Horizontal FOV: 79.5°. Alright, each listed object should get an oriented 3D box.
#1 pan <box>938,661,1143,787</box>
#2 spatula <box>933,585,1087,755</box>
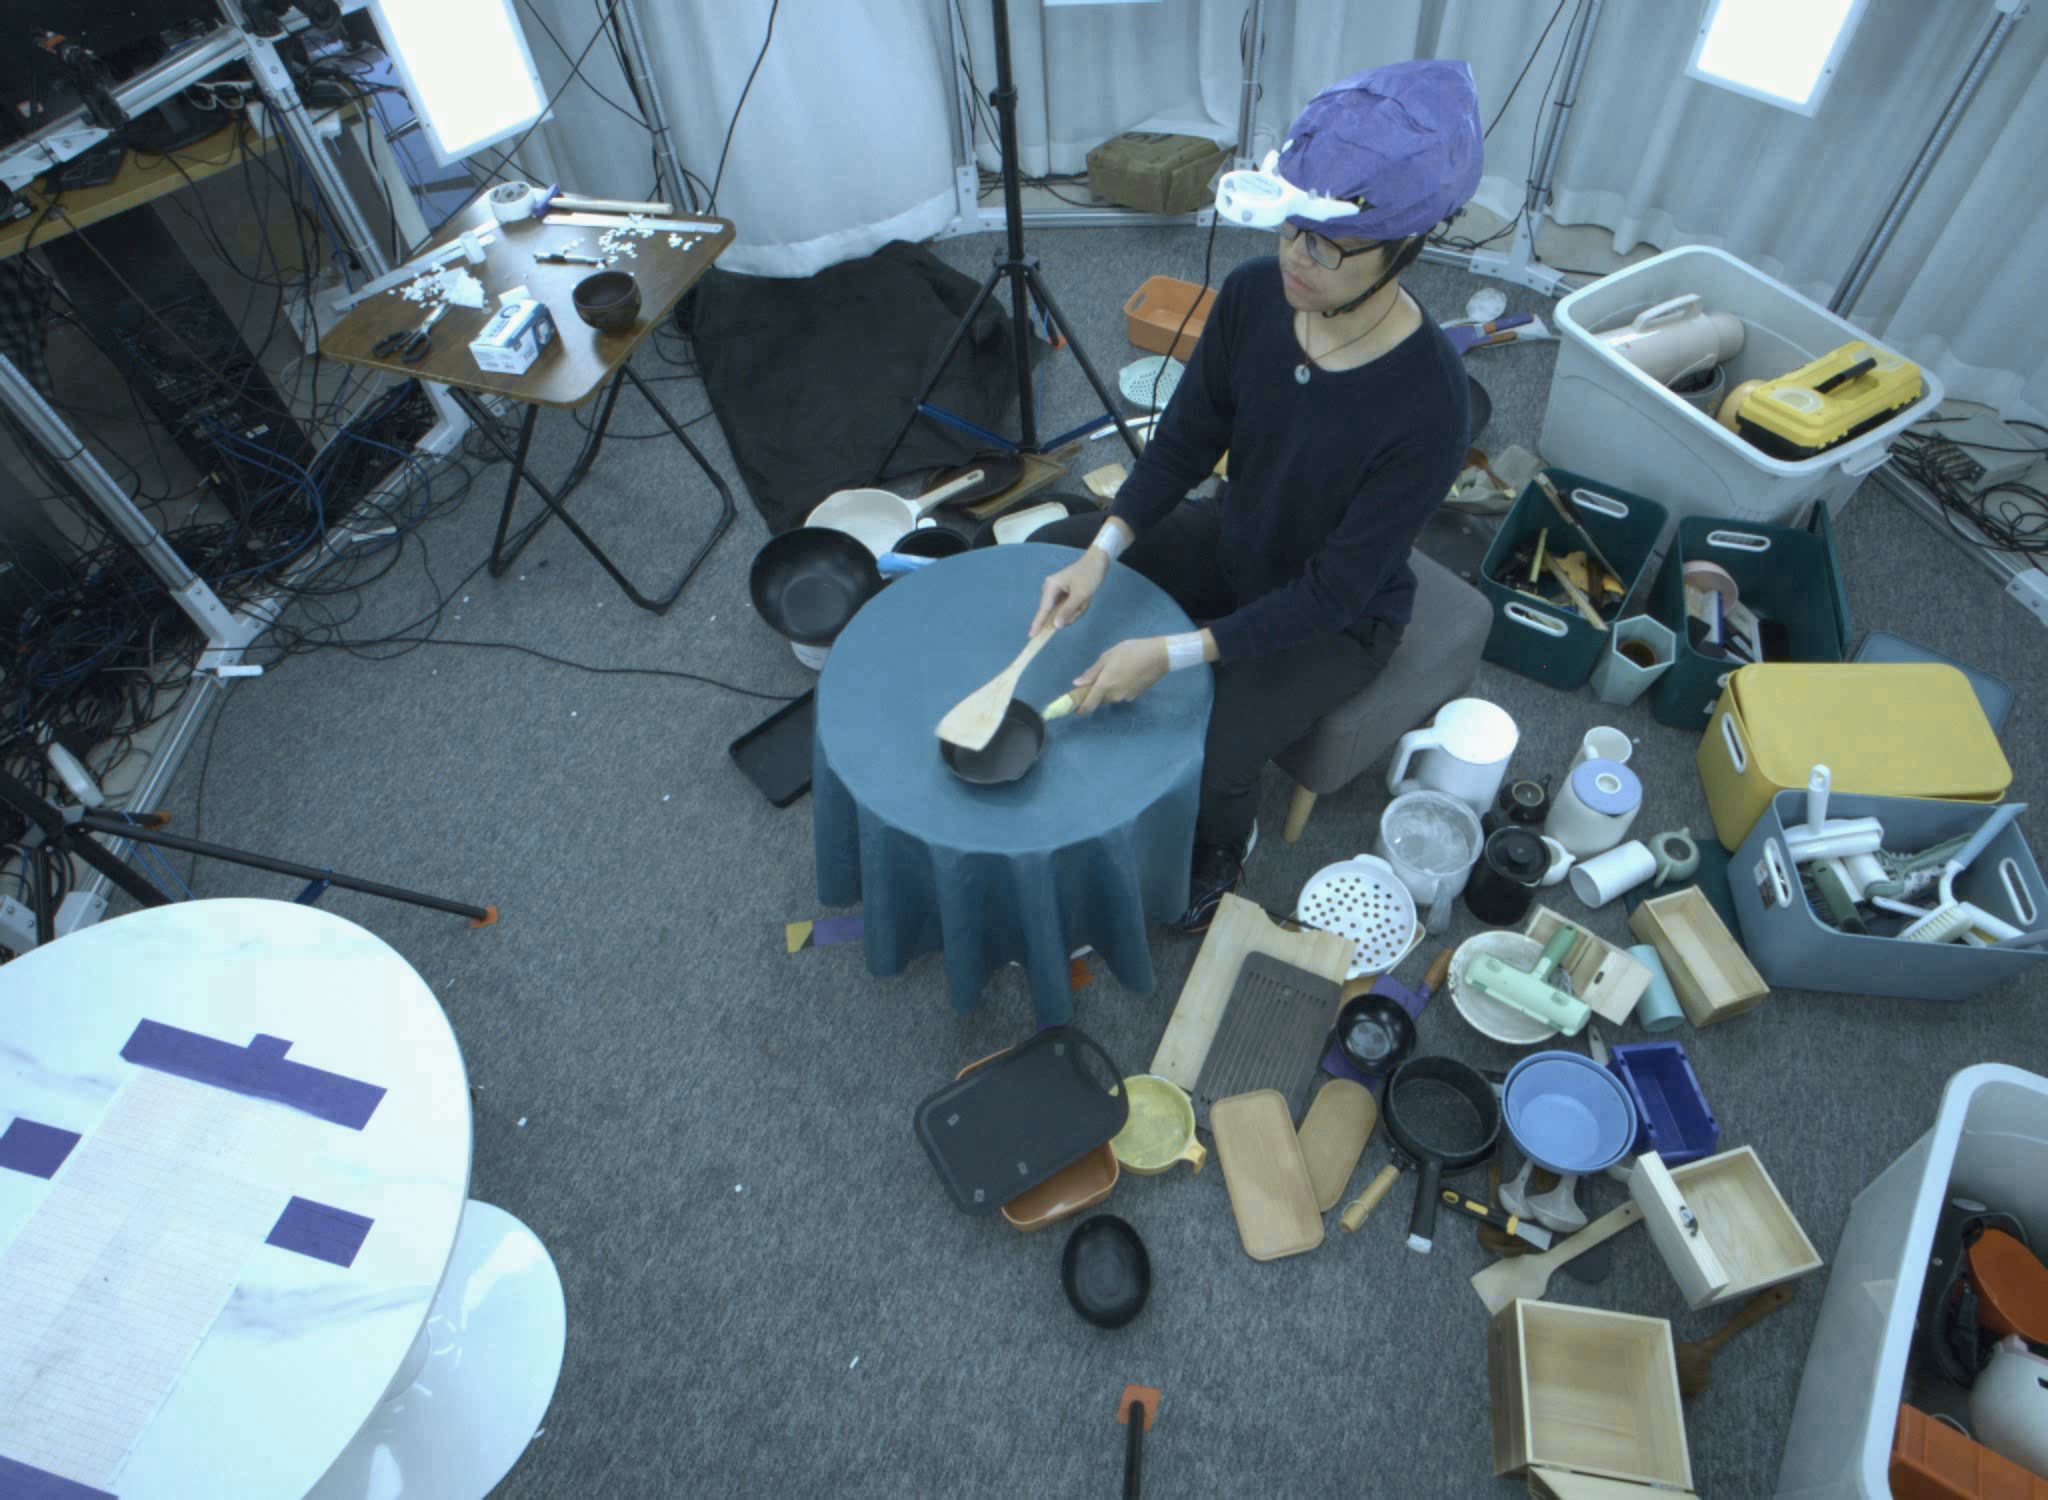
[{"bbox_3d":[0.031,-0.048,1.775,0.325,0.050,0.165,-25,53,-9],"label":"pan"},{"bbox_3d":[-0.006,-0.121,1.775,0.079,0.017,0.328,32,71,16],"label":"spatula"}]
